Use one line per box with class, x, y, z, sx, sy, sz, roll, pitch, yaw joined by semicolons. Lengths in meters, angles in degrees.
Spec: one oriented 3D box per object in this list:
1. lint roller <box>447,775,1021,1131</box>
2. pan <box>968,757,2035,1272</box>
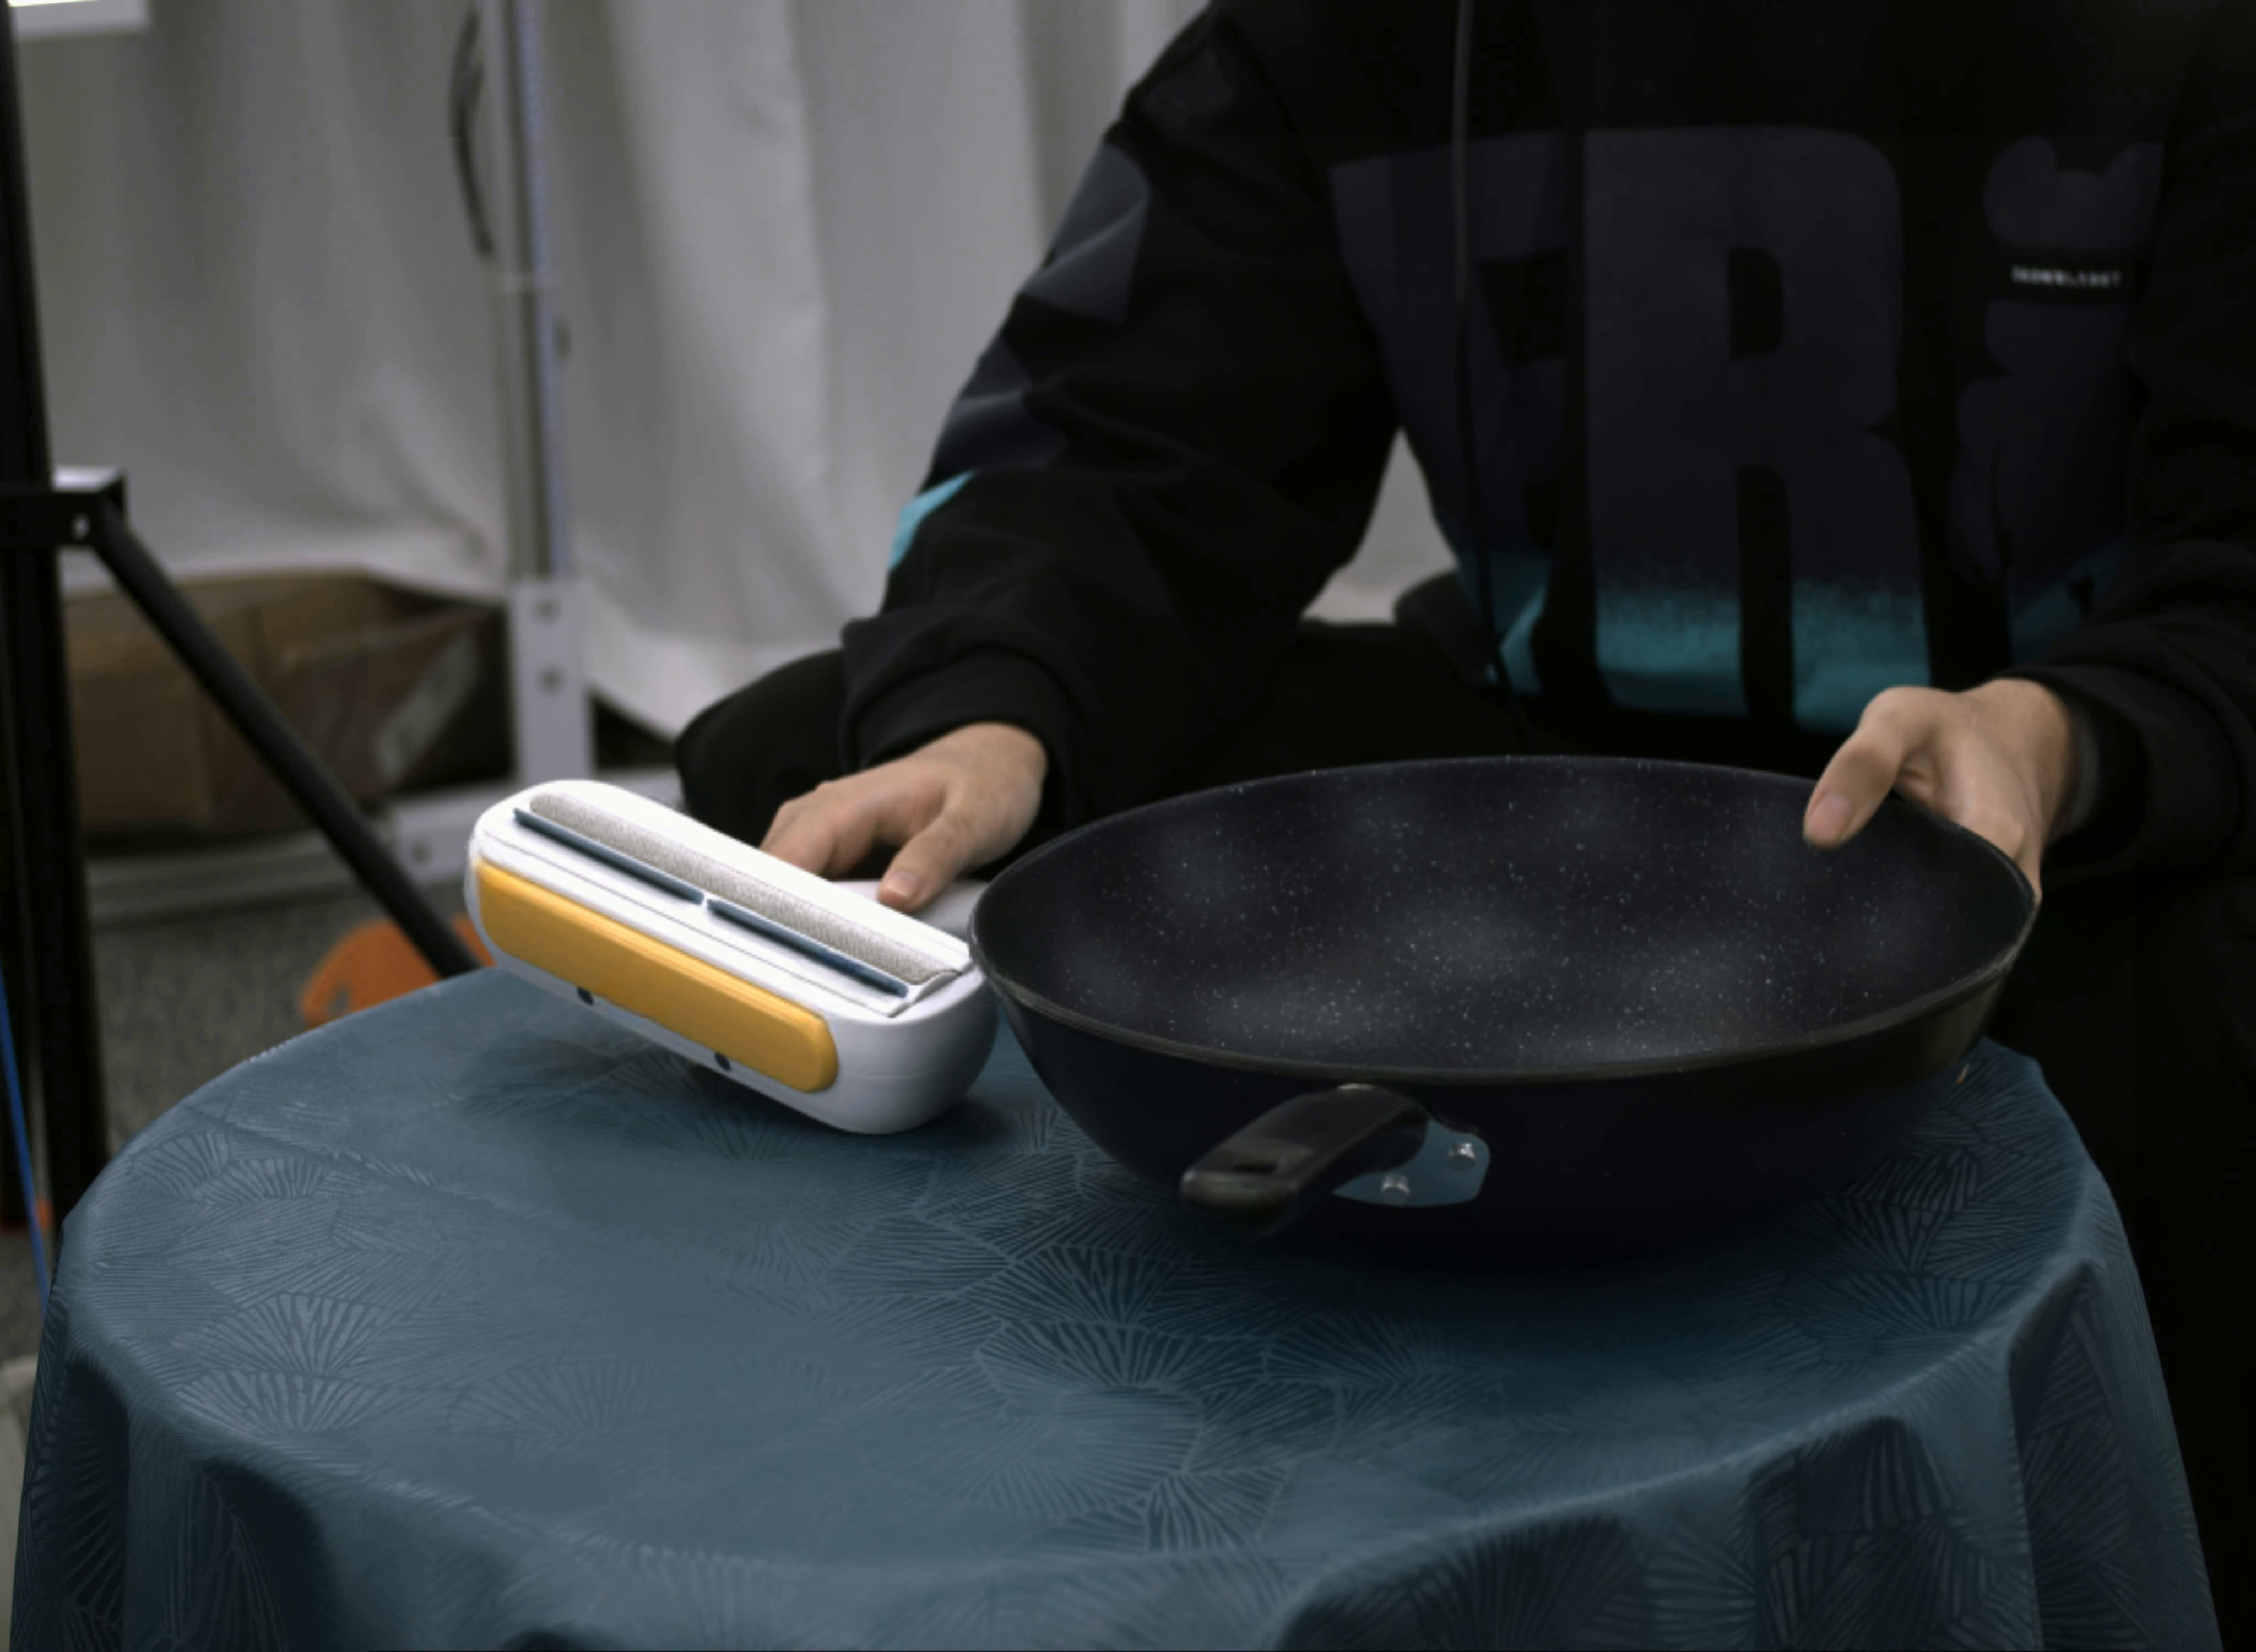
lint roller;-0.095;0.033;1.715;0.197;0.074;0.188;20;24;37
pan;0.088;0.074;1.469;0.313;0.111;0.473;0;16;16
